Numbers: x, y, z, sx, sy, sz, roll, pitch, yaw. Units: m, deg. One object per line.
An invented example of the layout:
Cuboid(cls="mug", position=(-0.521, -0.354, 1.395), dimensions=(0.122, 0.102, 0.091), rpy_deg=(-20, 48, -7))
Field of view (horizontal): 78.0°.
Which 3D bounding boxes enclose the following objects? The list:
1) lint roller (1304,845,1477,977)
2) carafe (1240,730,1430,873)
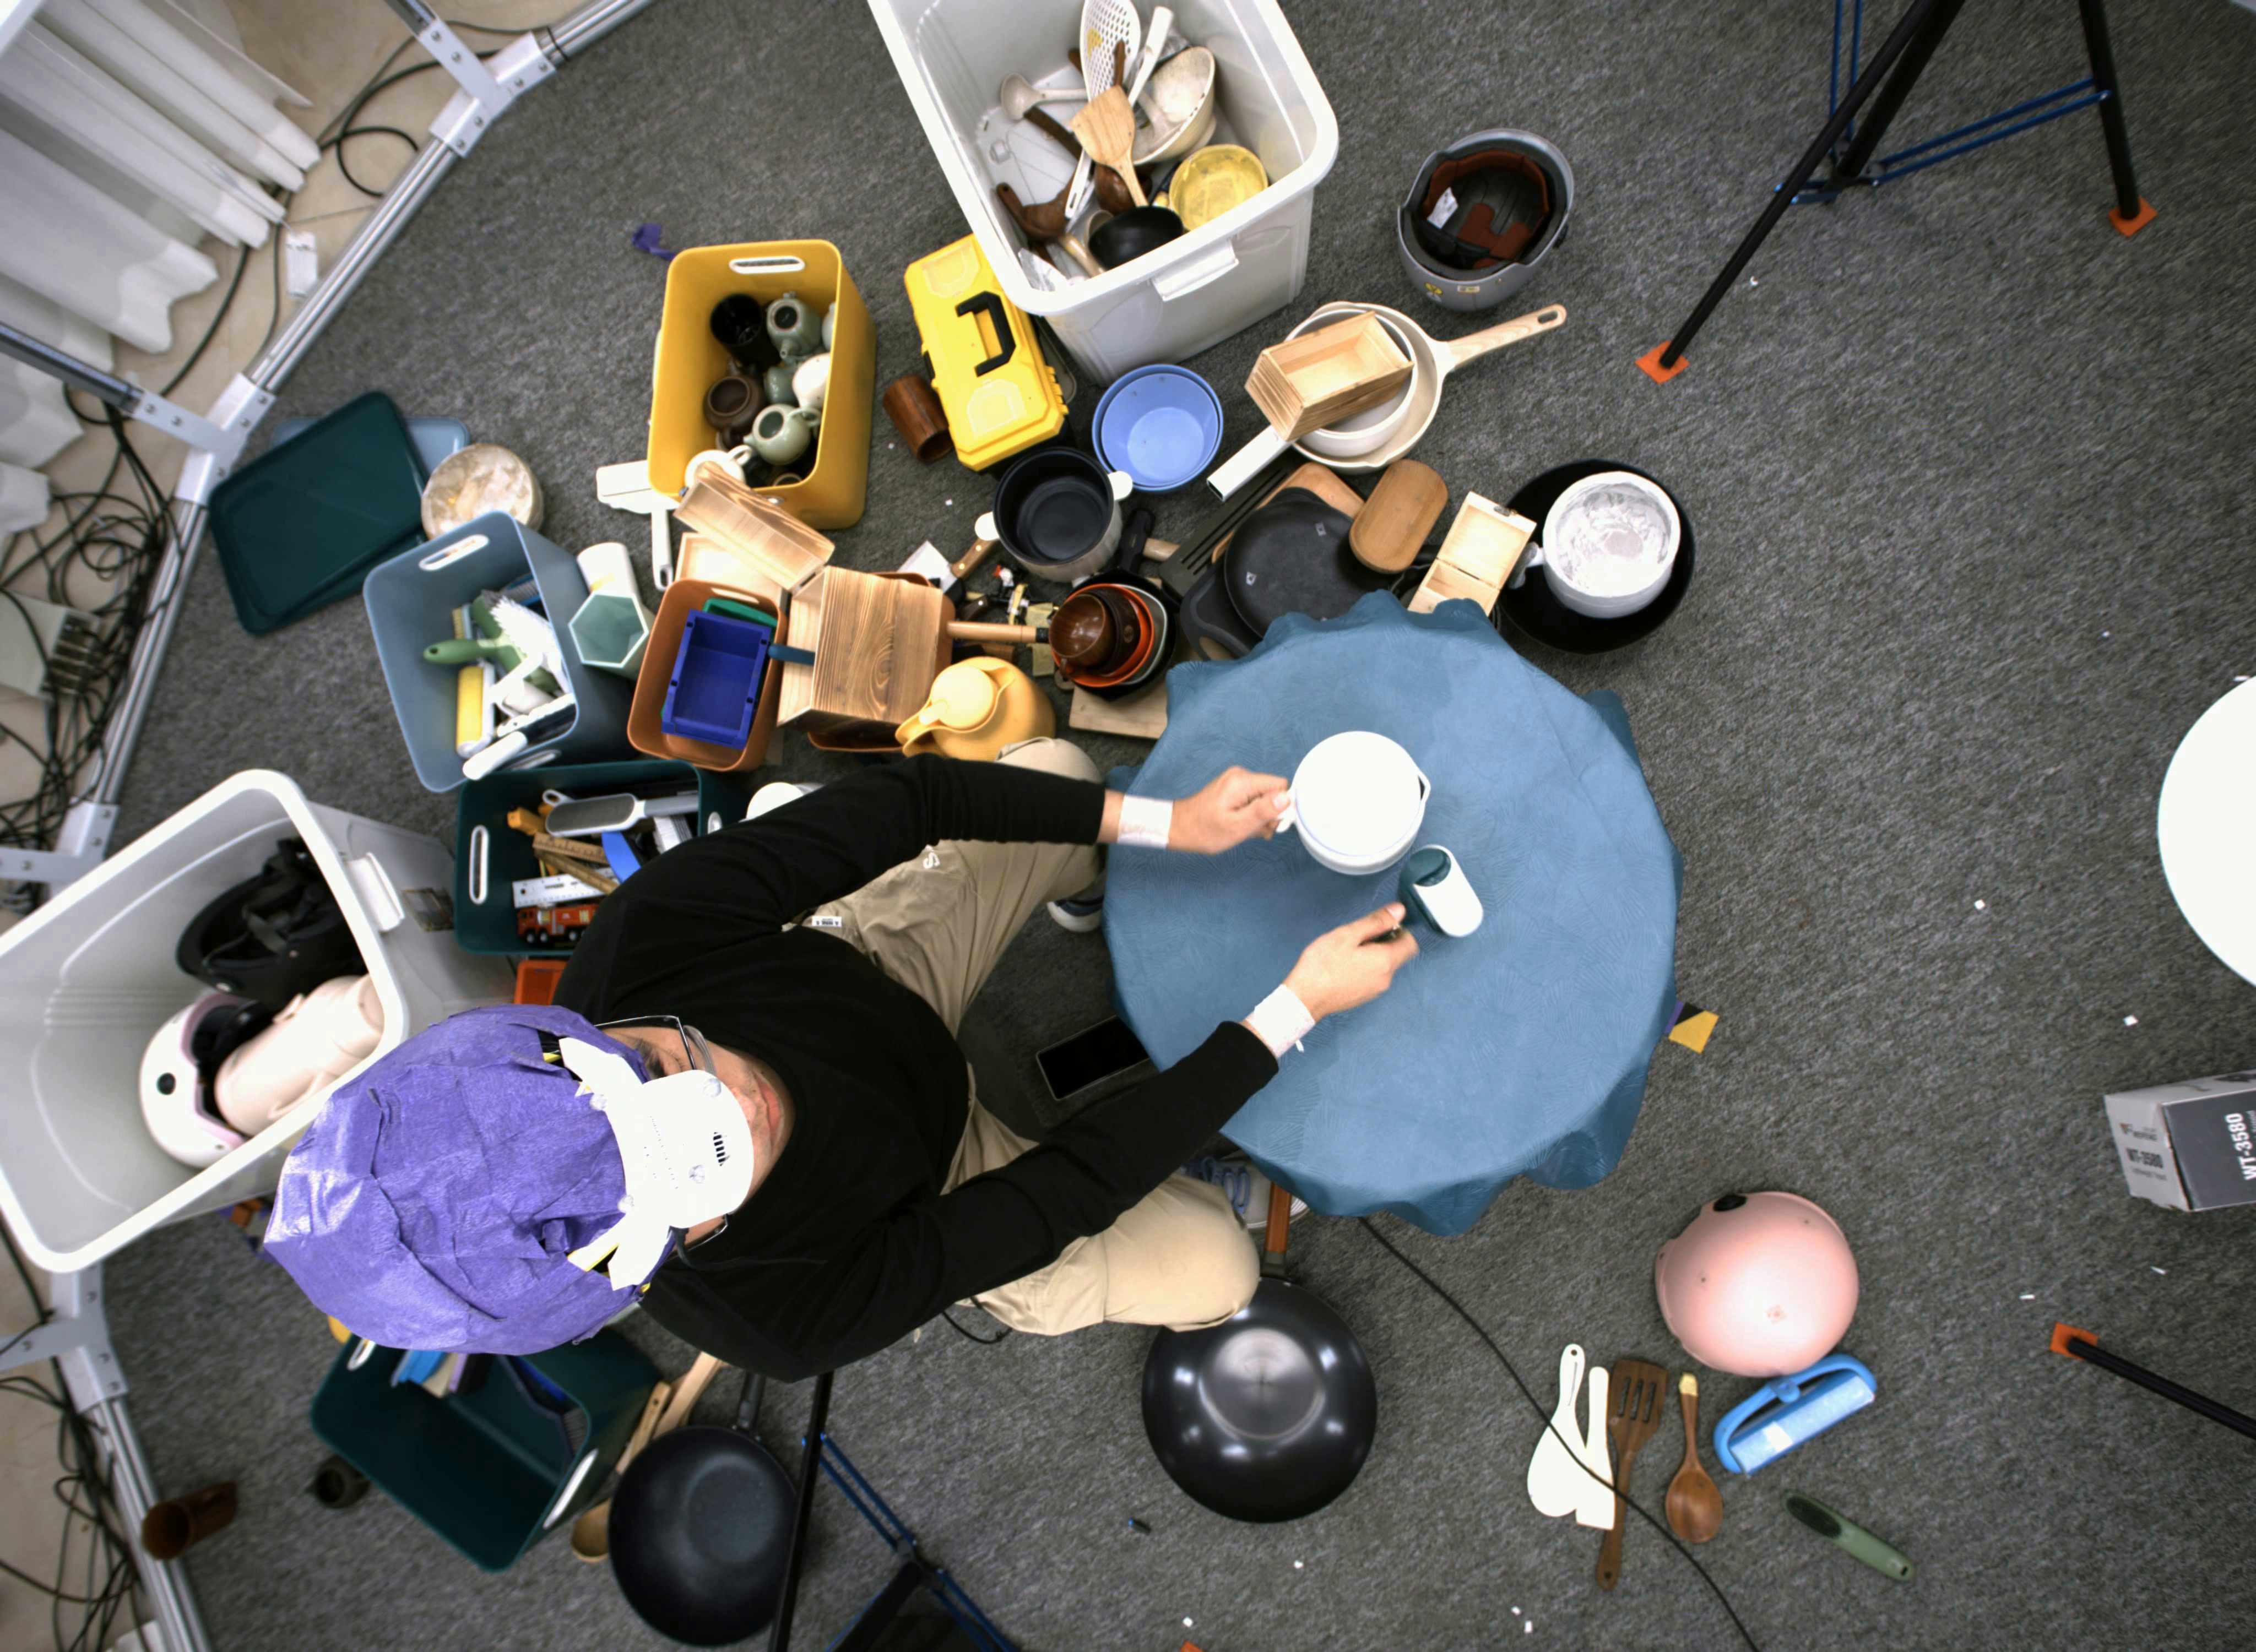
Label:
Cuboid(cls="lint roller", position=(0.253, 0.101, 1.349), dimensions=(0.181, 0.136, 0.047), rpy_deg=(-40, 52, 6))
Cuboid(cls="carafe", position=(0.207, -0.021, 1.390), dimensions=(0.192, 0.183, 0.131), rpy_deg=(-7, 83, 11))
